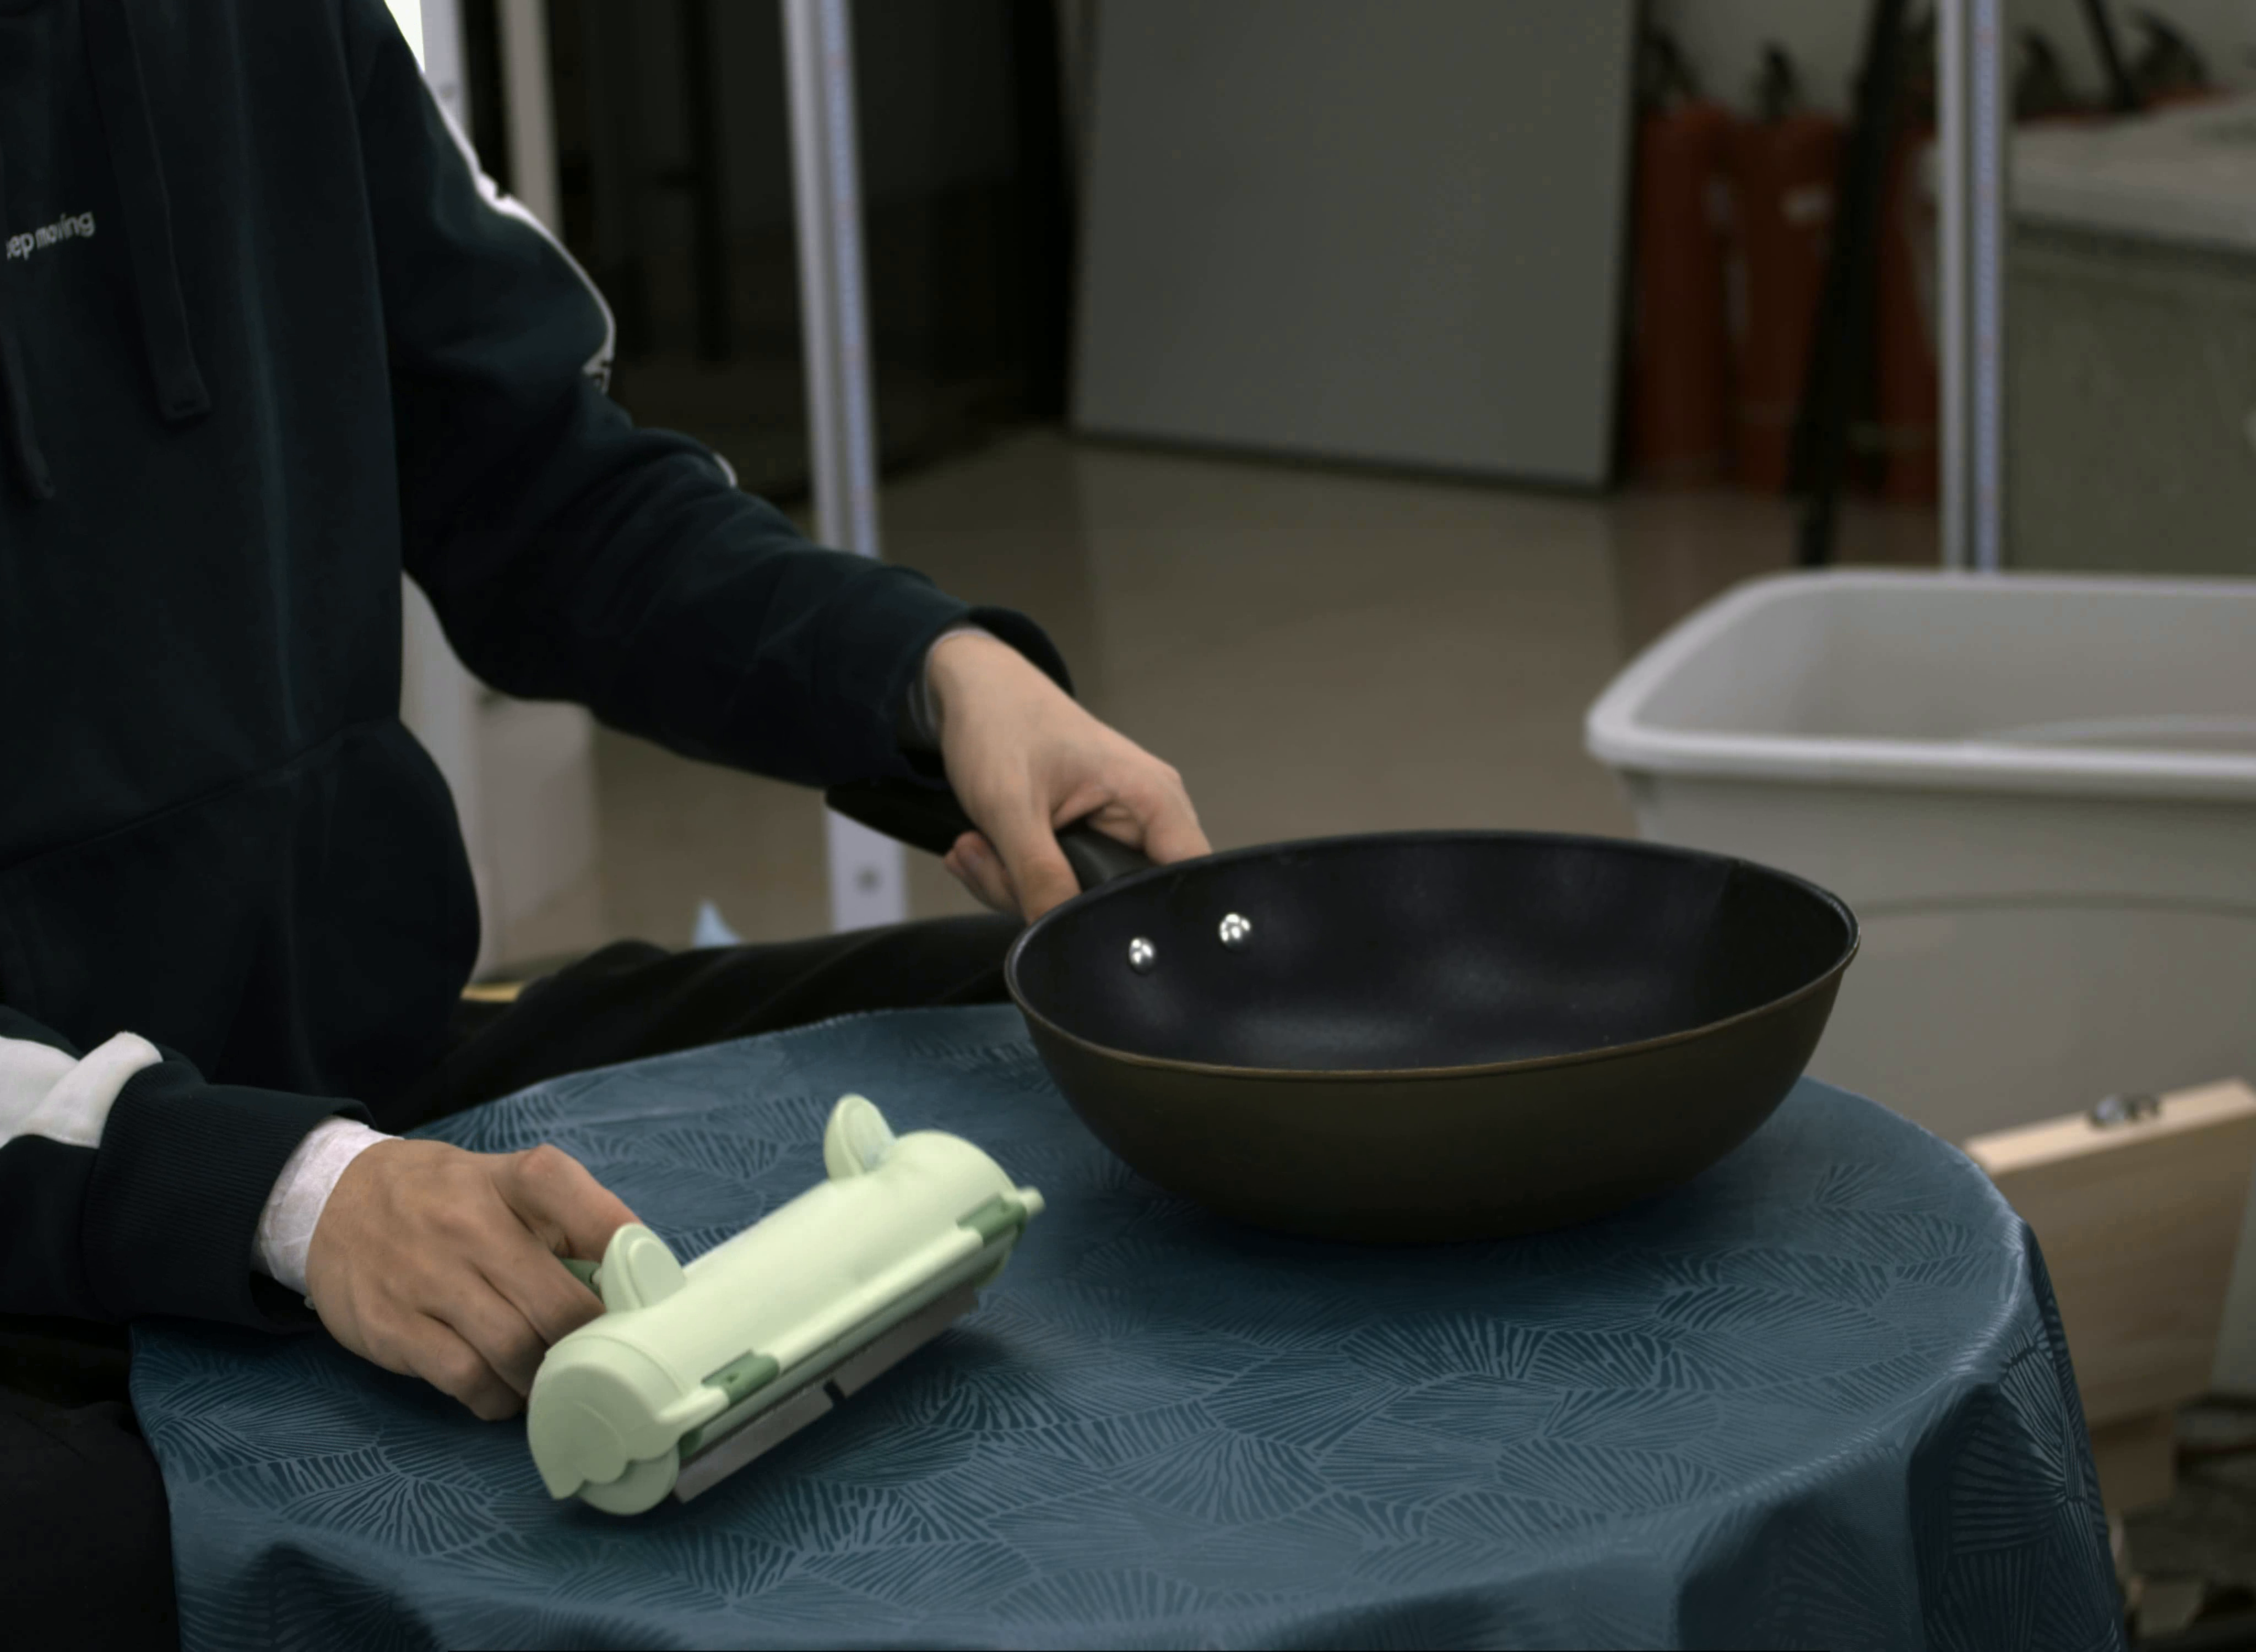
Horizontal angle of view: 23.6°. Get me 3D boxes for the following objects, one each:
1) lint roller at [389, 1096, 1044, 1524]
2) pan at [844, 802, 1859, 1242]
[{"bbox_3d":[-0.148,0.131,1.600,0.184,0.083,0.195,8,20,31],"label":"lint roller"},{"bbox_3d":[0.042,0.061,1.826,0.282,0.088,0.468,-14,16,-37],"label":"pan"}]
